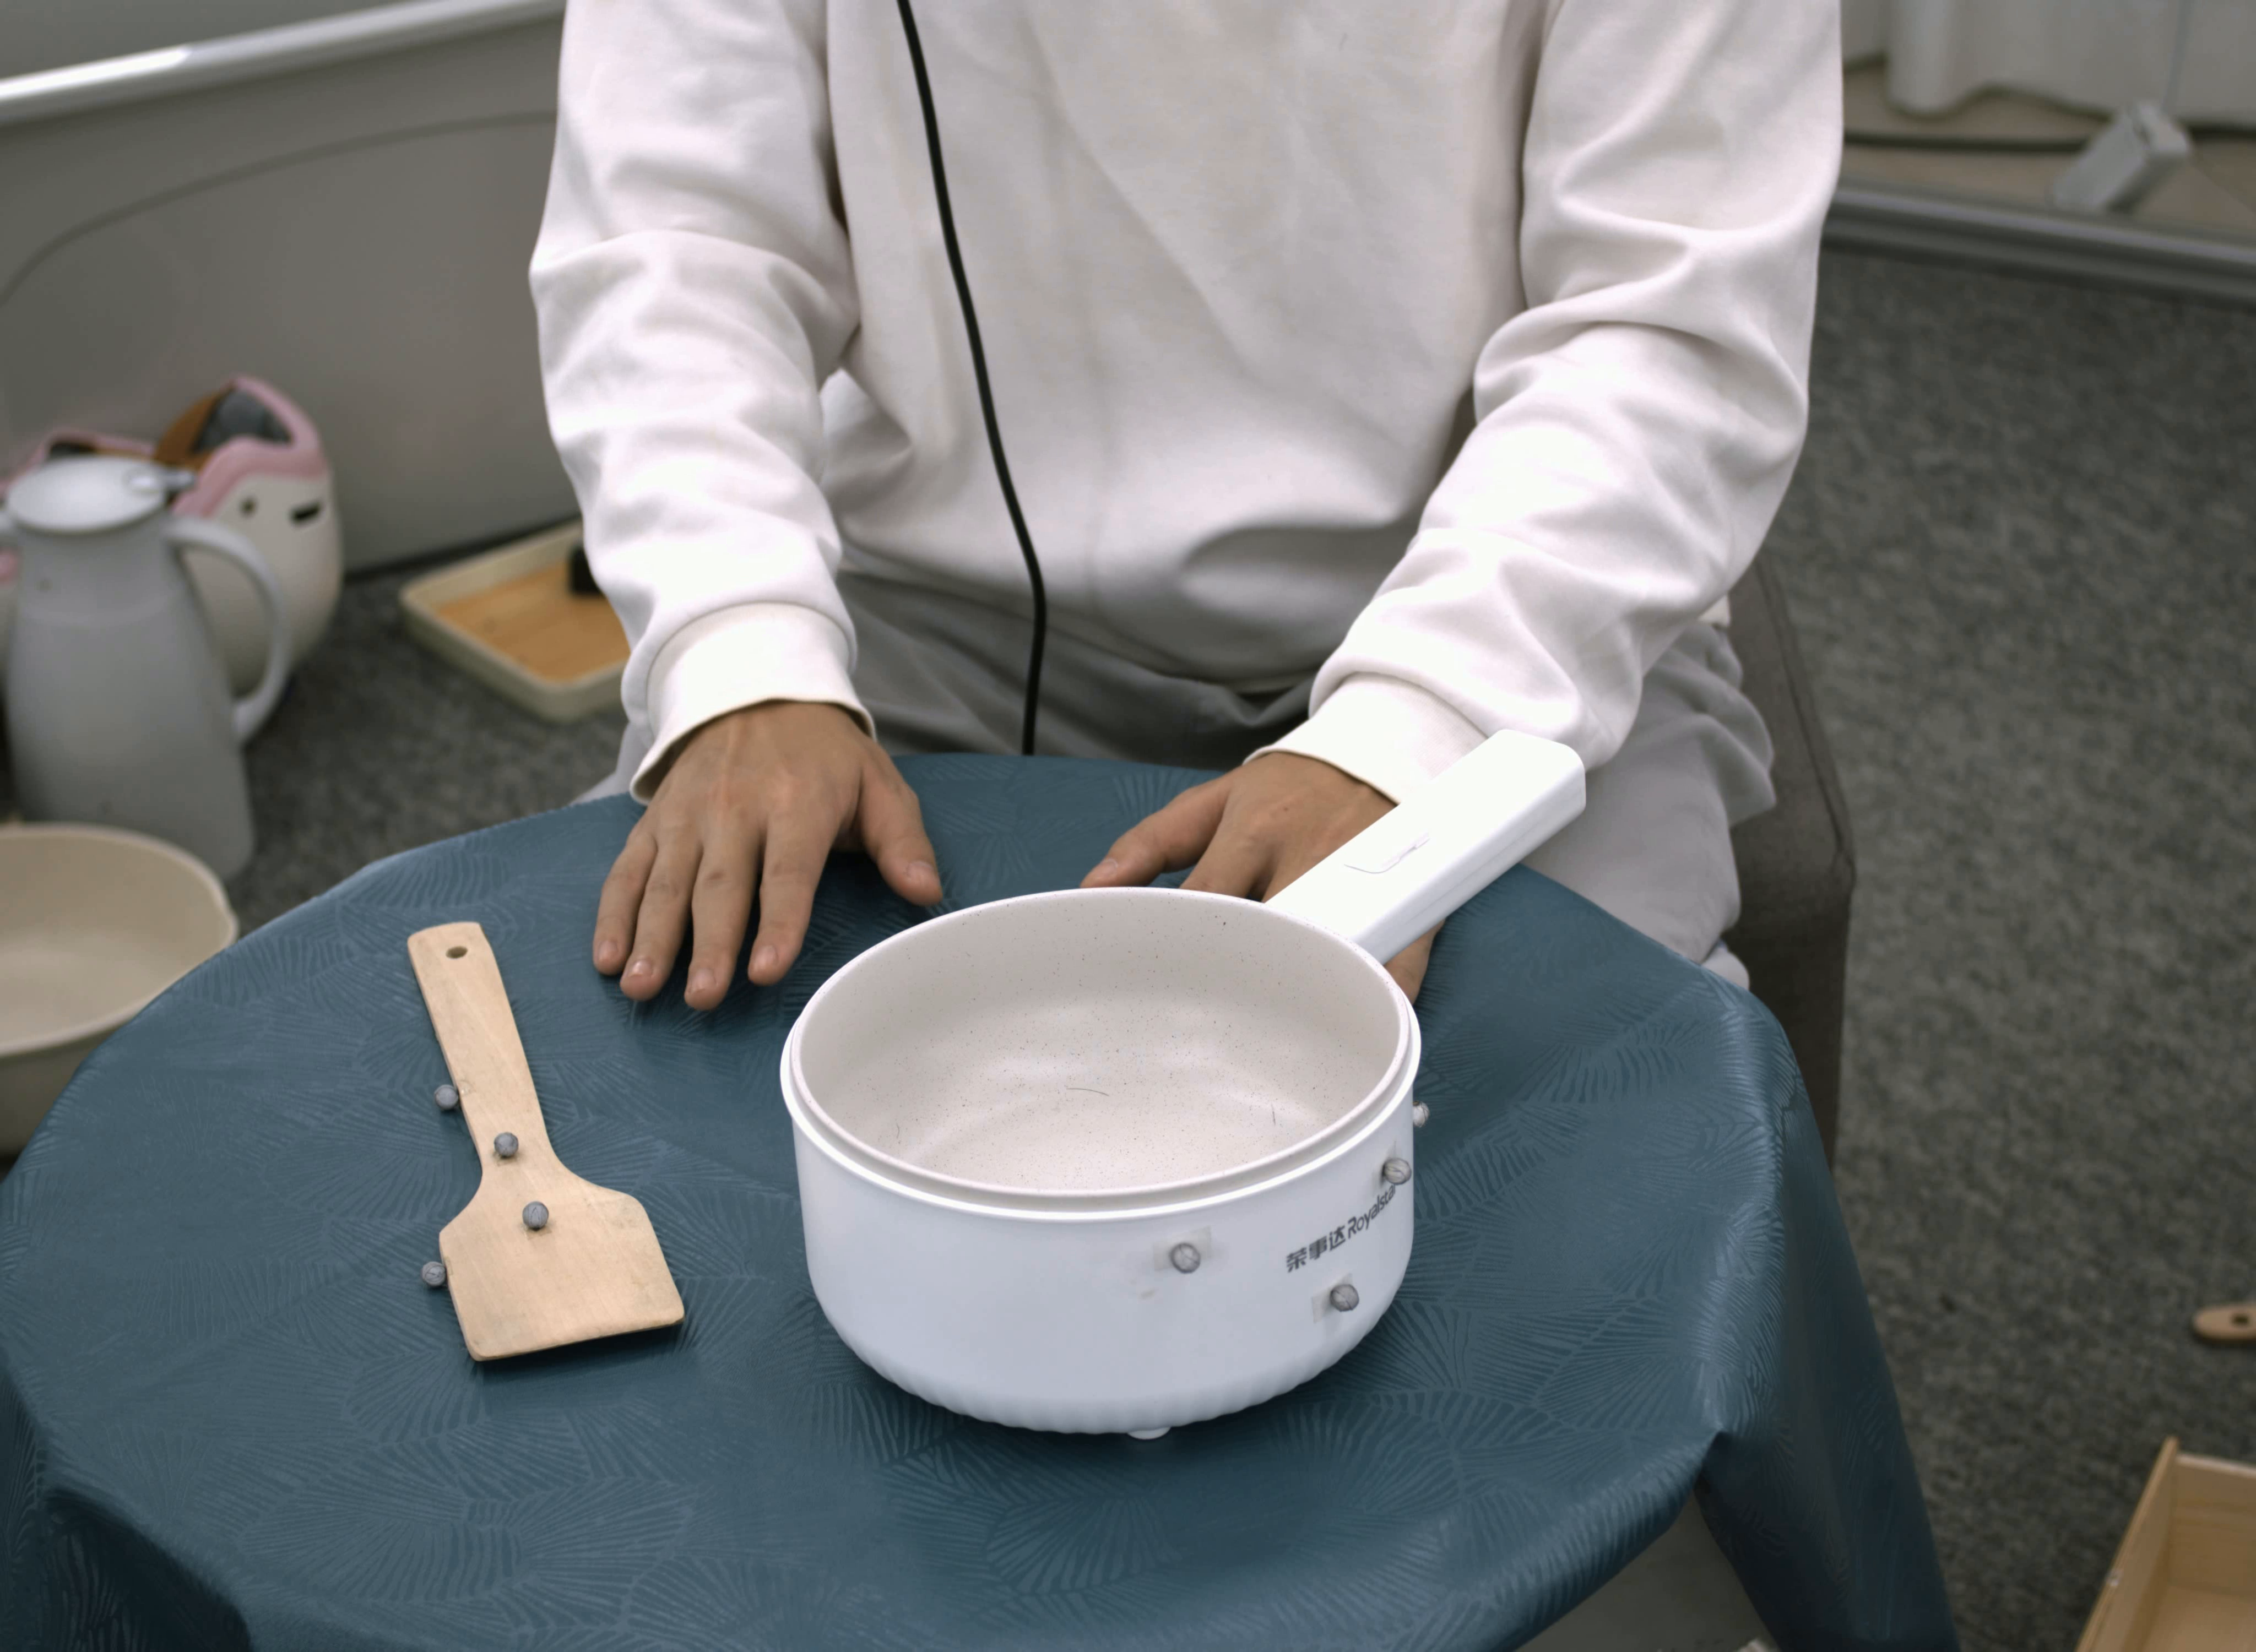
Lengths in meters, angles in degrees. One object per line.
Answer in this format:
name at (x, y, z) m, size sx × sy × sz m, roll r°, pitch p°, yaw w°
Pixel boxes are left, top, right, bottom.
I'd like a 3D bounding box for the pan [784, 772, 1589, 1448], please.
pan at (0.040, 0.088, 1.838) m, size 0.200 × 0.101 × 0.360 m, roll 12°, pitch 27°, yaw 34°
